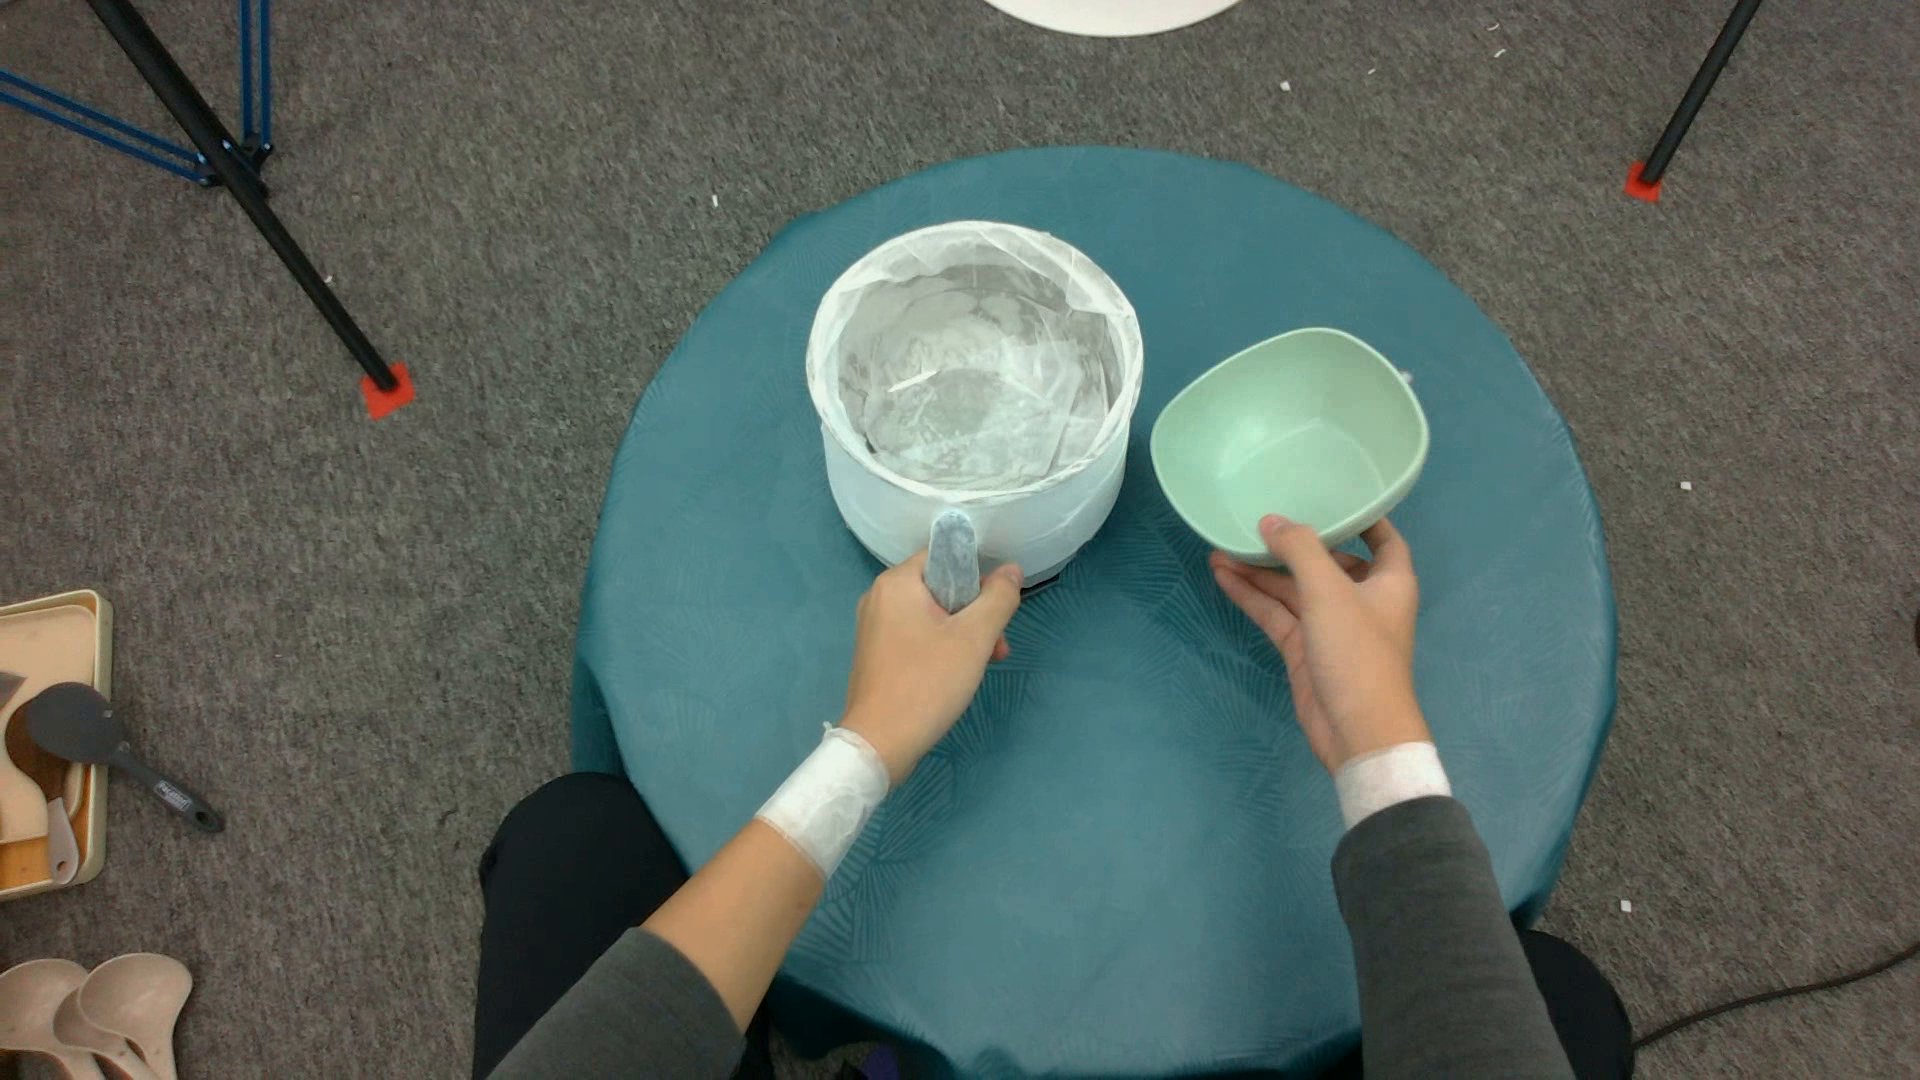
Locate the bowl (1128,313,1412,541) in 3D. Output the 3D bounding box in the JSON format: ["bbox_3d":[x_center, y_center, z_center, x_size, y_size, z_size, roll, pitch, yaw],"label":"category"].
[{"bbox_3d":[0.169,-0.054,0.755,0.151,0.058,0.152,-8,48,9],"label":"bowl"}]

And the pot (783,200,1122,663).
[{"bbox_3d":[-0.007,-0.056,0.764,0.179,0.136,0.234,5,64,2],"label":"pot"}]
